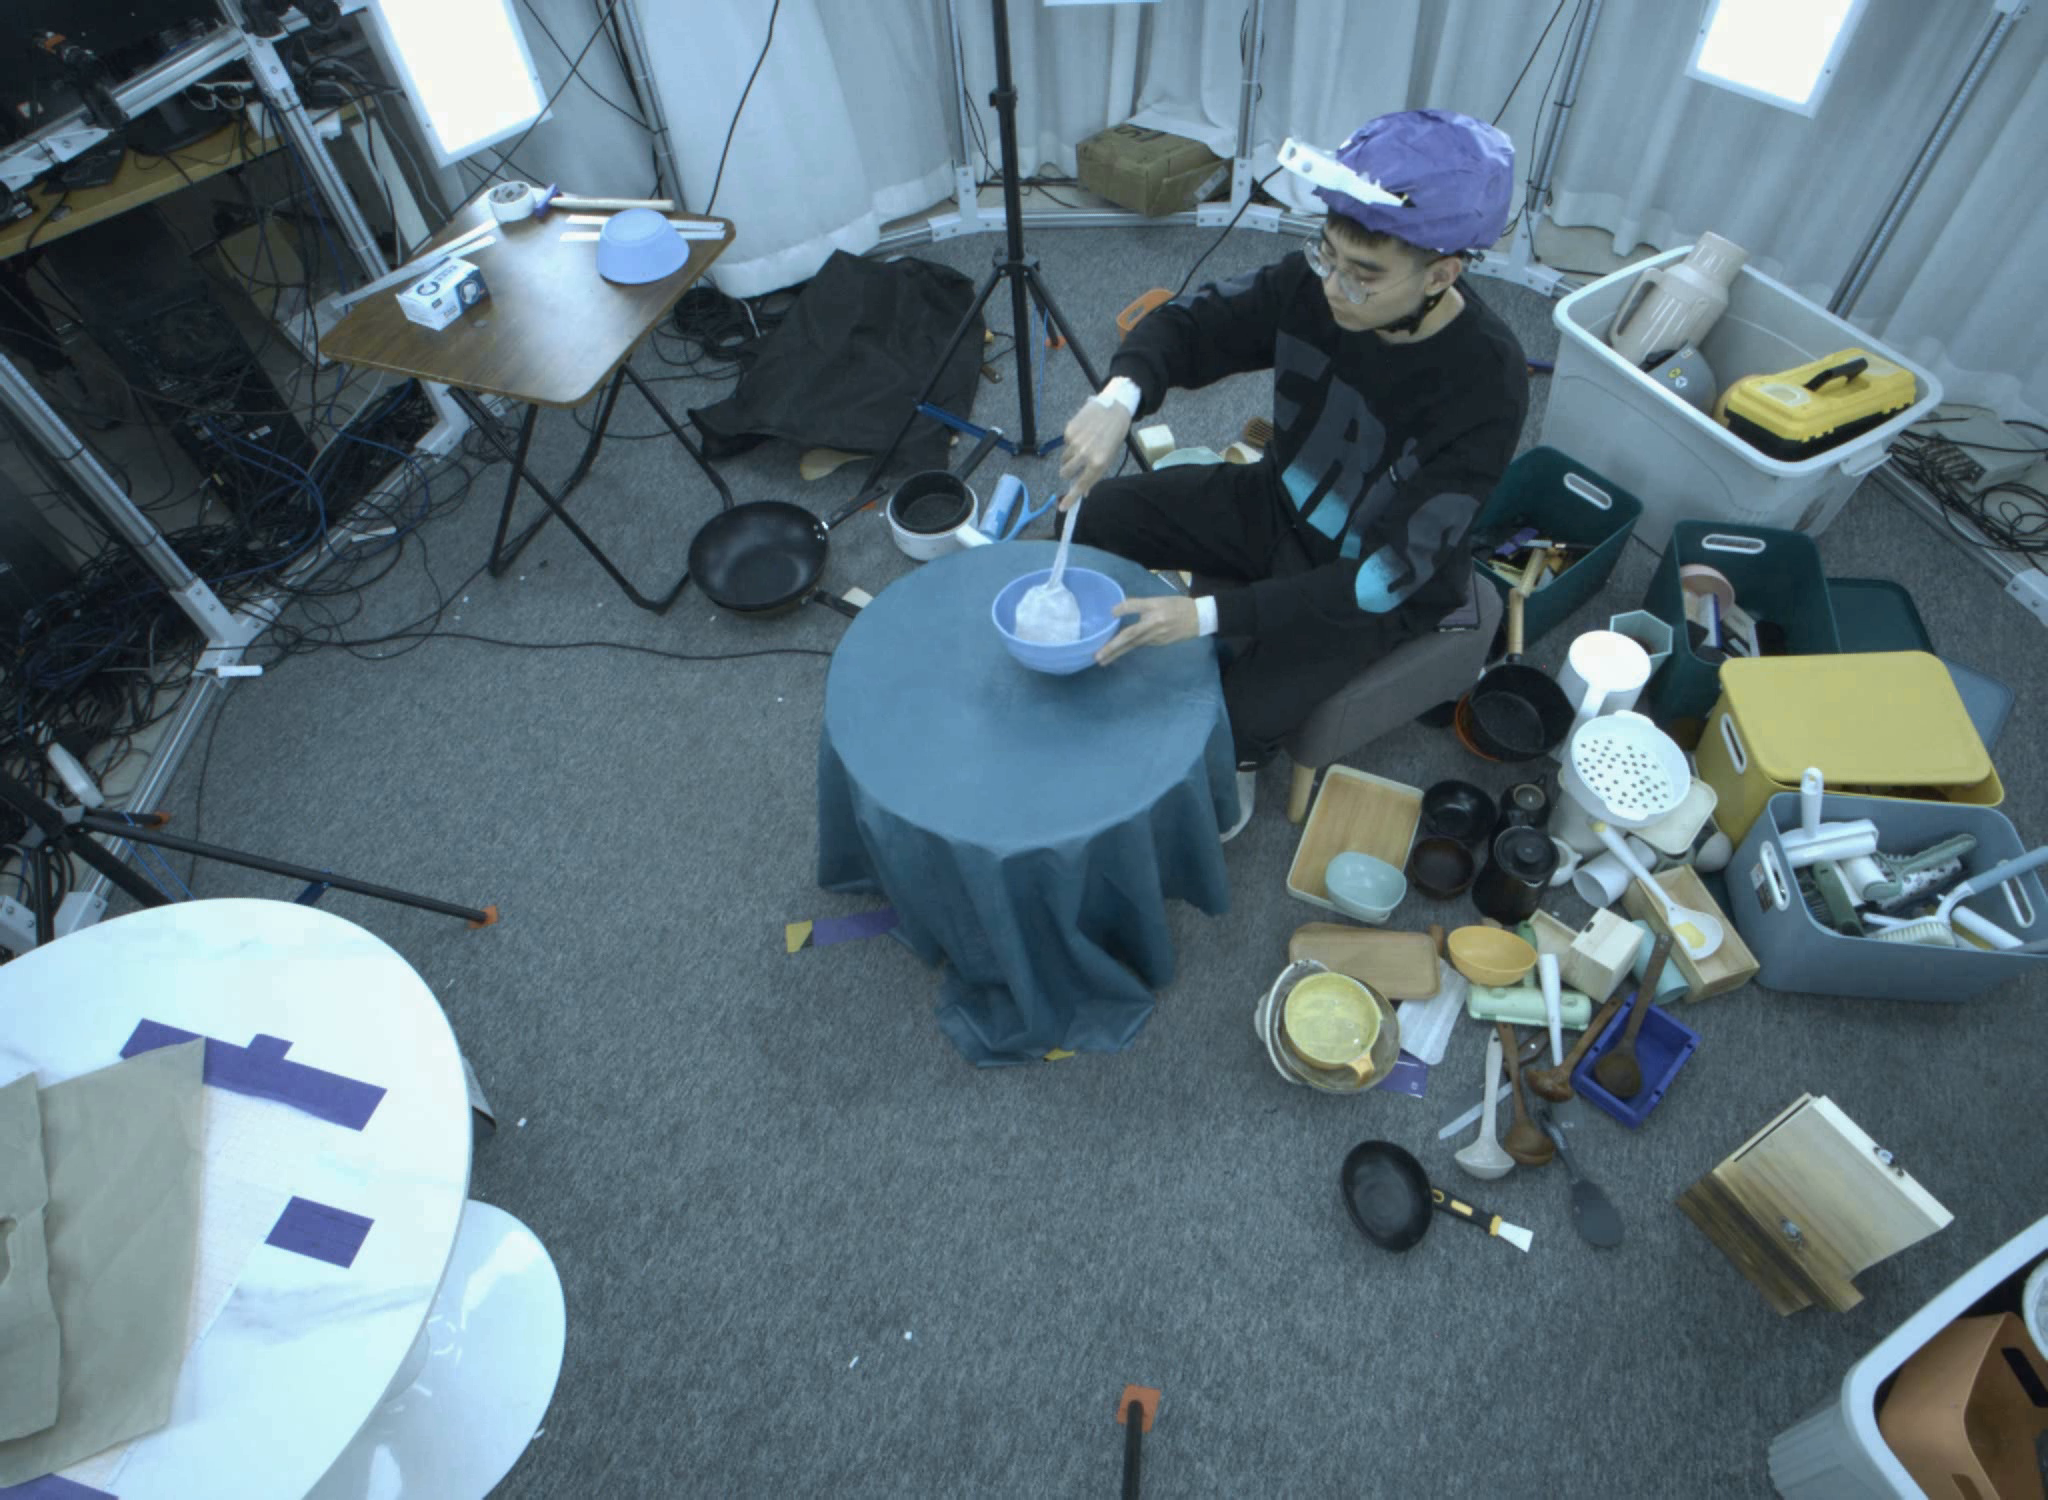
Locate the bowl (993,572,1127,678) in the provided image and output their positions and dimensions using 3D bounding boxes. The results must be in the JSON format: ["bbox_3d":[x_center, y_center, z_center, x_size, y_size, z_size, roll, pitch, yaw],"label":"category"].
[{"bbox_3d":[0.057,-0.173,1.830,0.196,0.096,0.194,-3,42,4],"label":"bowl"}]

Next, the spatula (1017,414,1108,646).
[{"bbox_3d":[0.070,-0.310,1.768,0.100,0.366,0.044,10,18,-13],"label":"spatula"}]
